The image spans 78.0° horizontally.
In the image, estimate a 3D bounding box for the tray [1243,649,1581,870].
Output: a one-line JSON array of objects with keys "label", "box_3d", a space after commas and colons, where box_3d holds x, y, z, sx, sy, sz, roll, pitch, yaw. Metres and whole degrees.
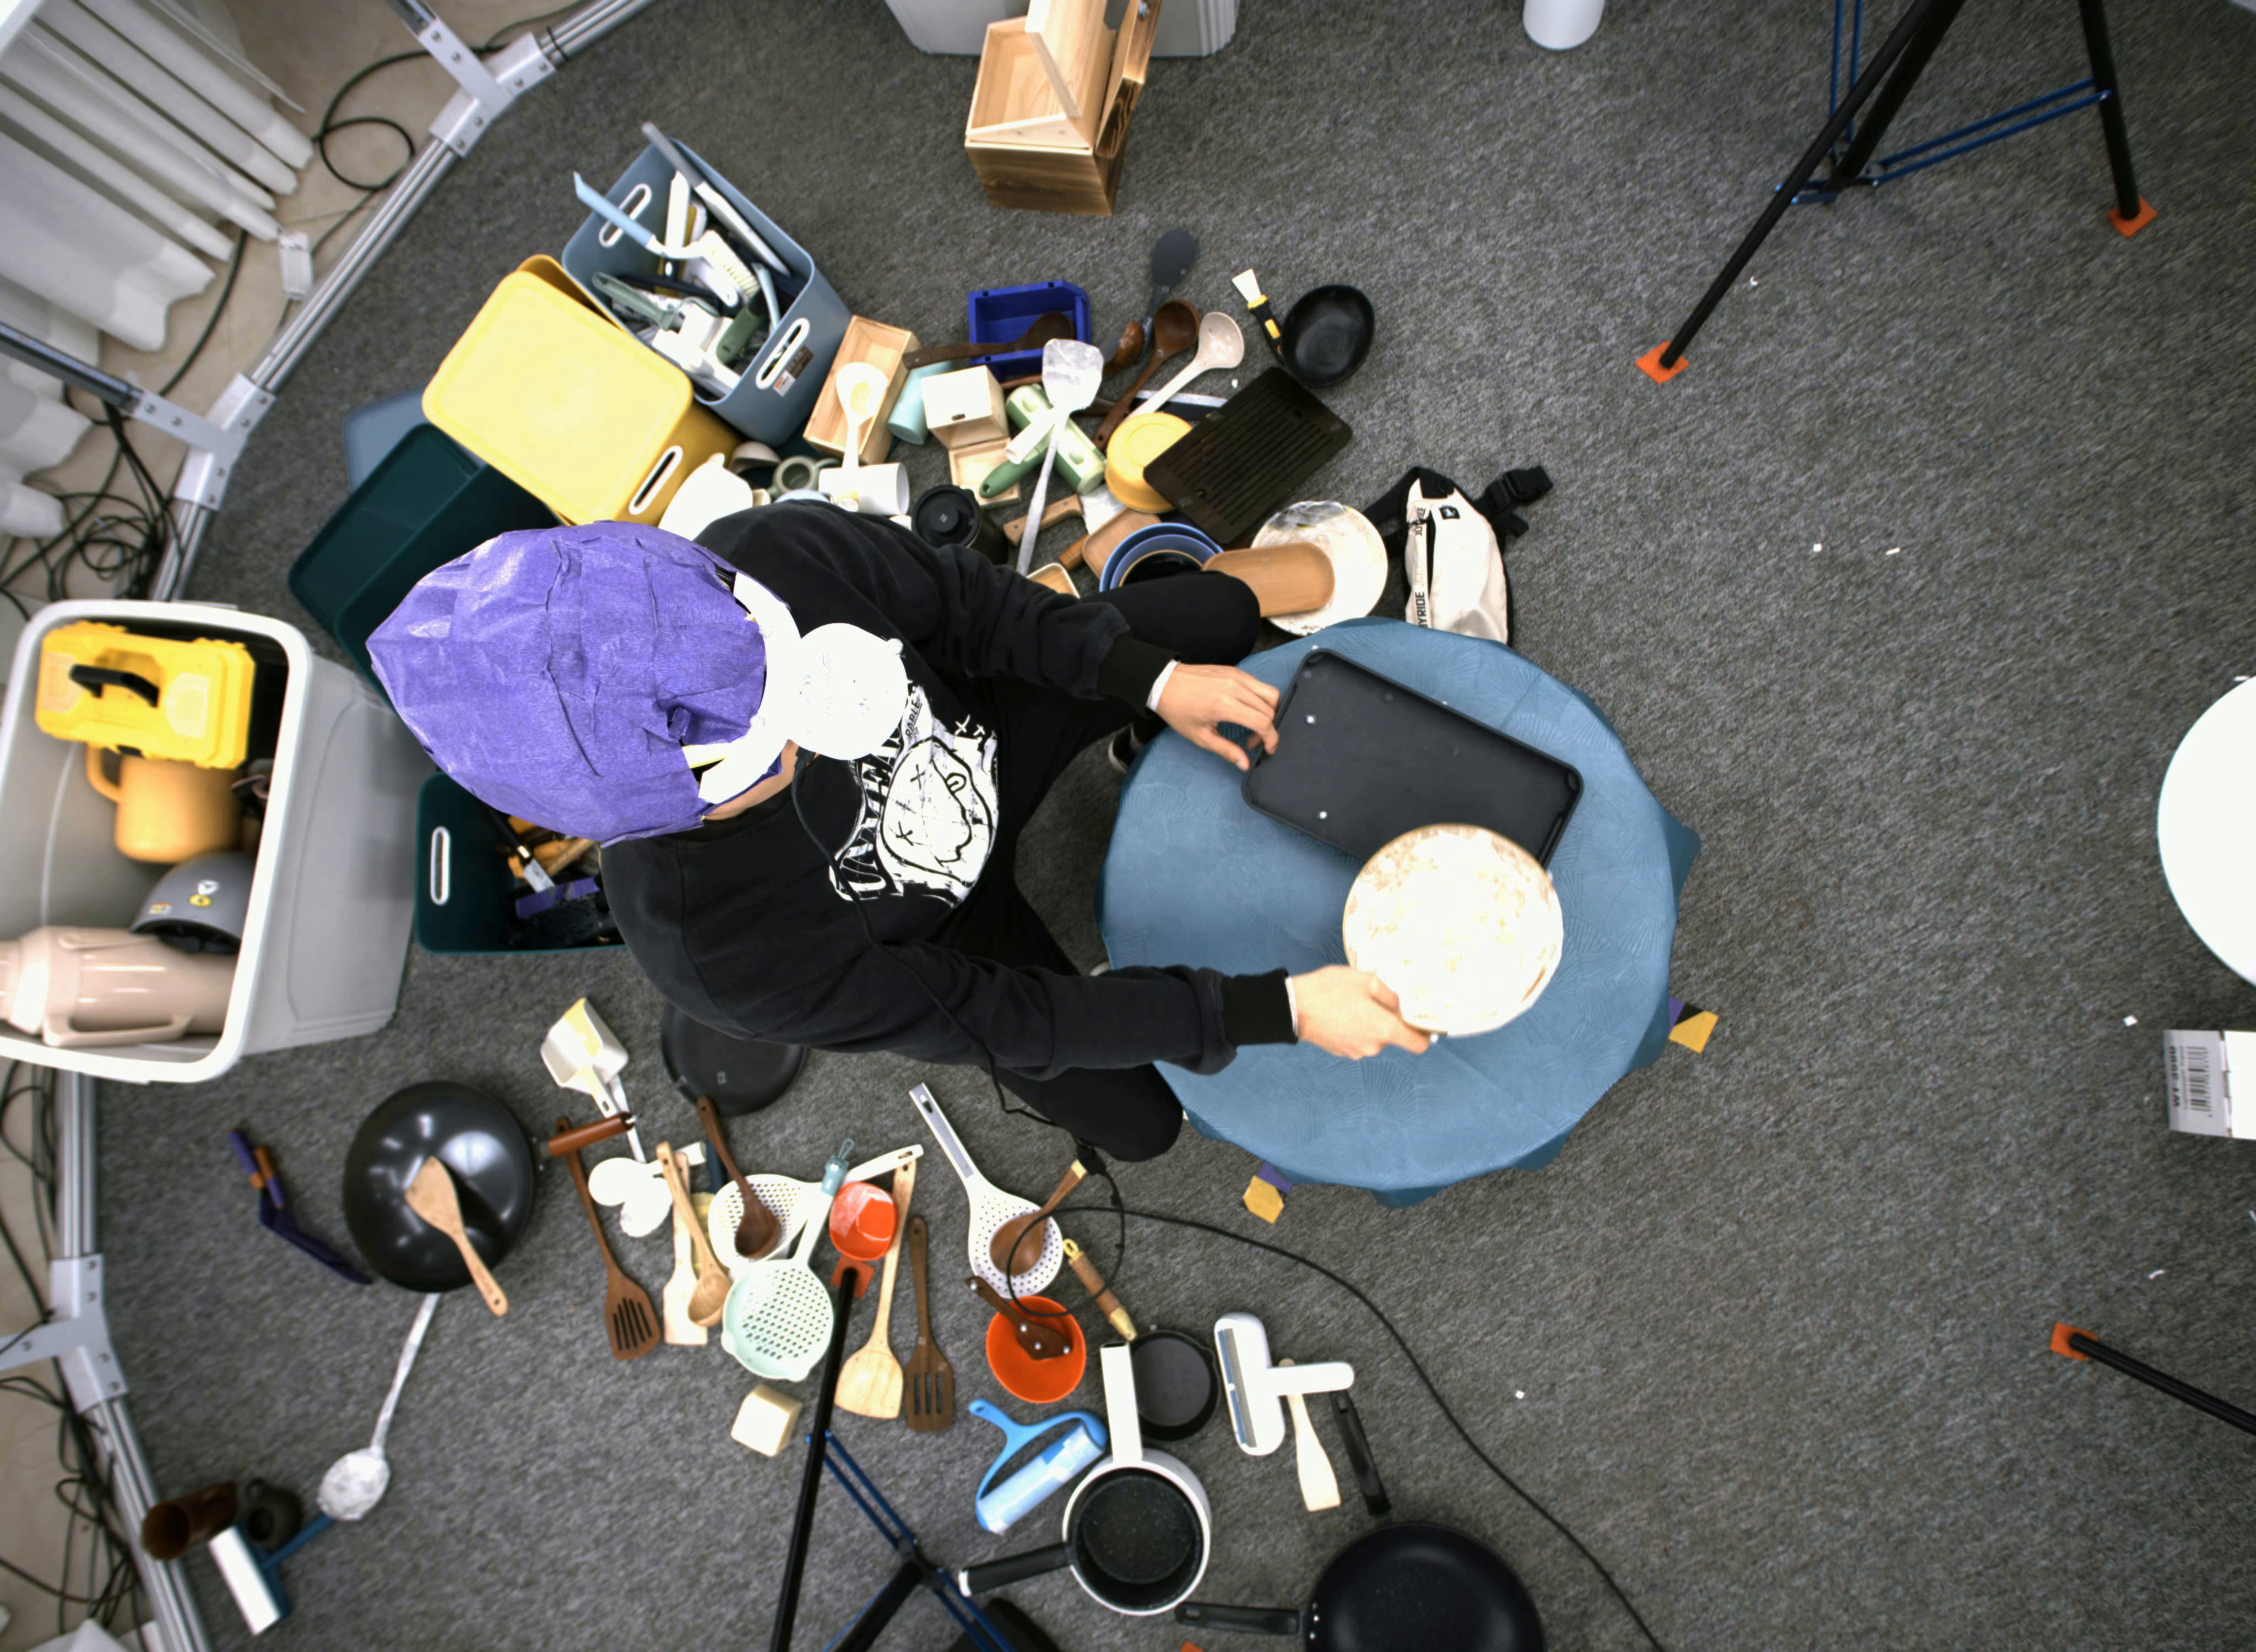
[{"label": "tray", "box_3d": [0.292, -0.037, 1.429, 0.318, 0.037, 0.184, 27, 90, 0]}]

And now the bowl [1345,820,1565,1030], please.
[{"label": "bowl", "box_3d": [0.312, 0.099, 1.315, 0.216, 0.095, 0.211, -8, 67, 19]}]
